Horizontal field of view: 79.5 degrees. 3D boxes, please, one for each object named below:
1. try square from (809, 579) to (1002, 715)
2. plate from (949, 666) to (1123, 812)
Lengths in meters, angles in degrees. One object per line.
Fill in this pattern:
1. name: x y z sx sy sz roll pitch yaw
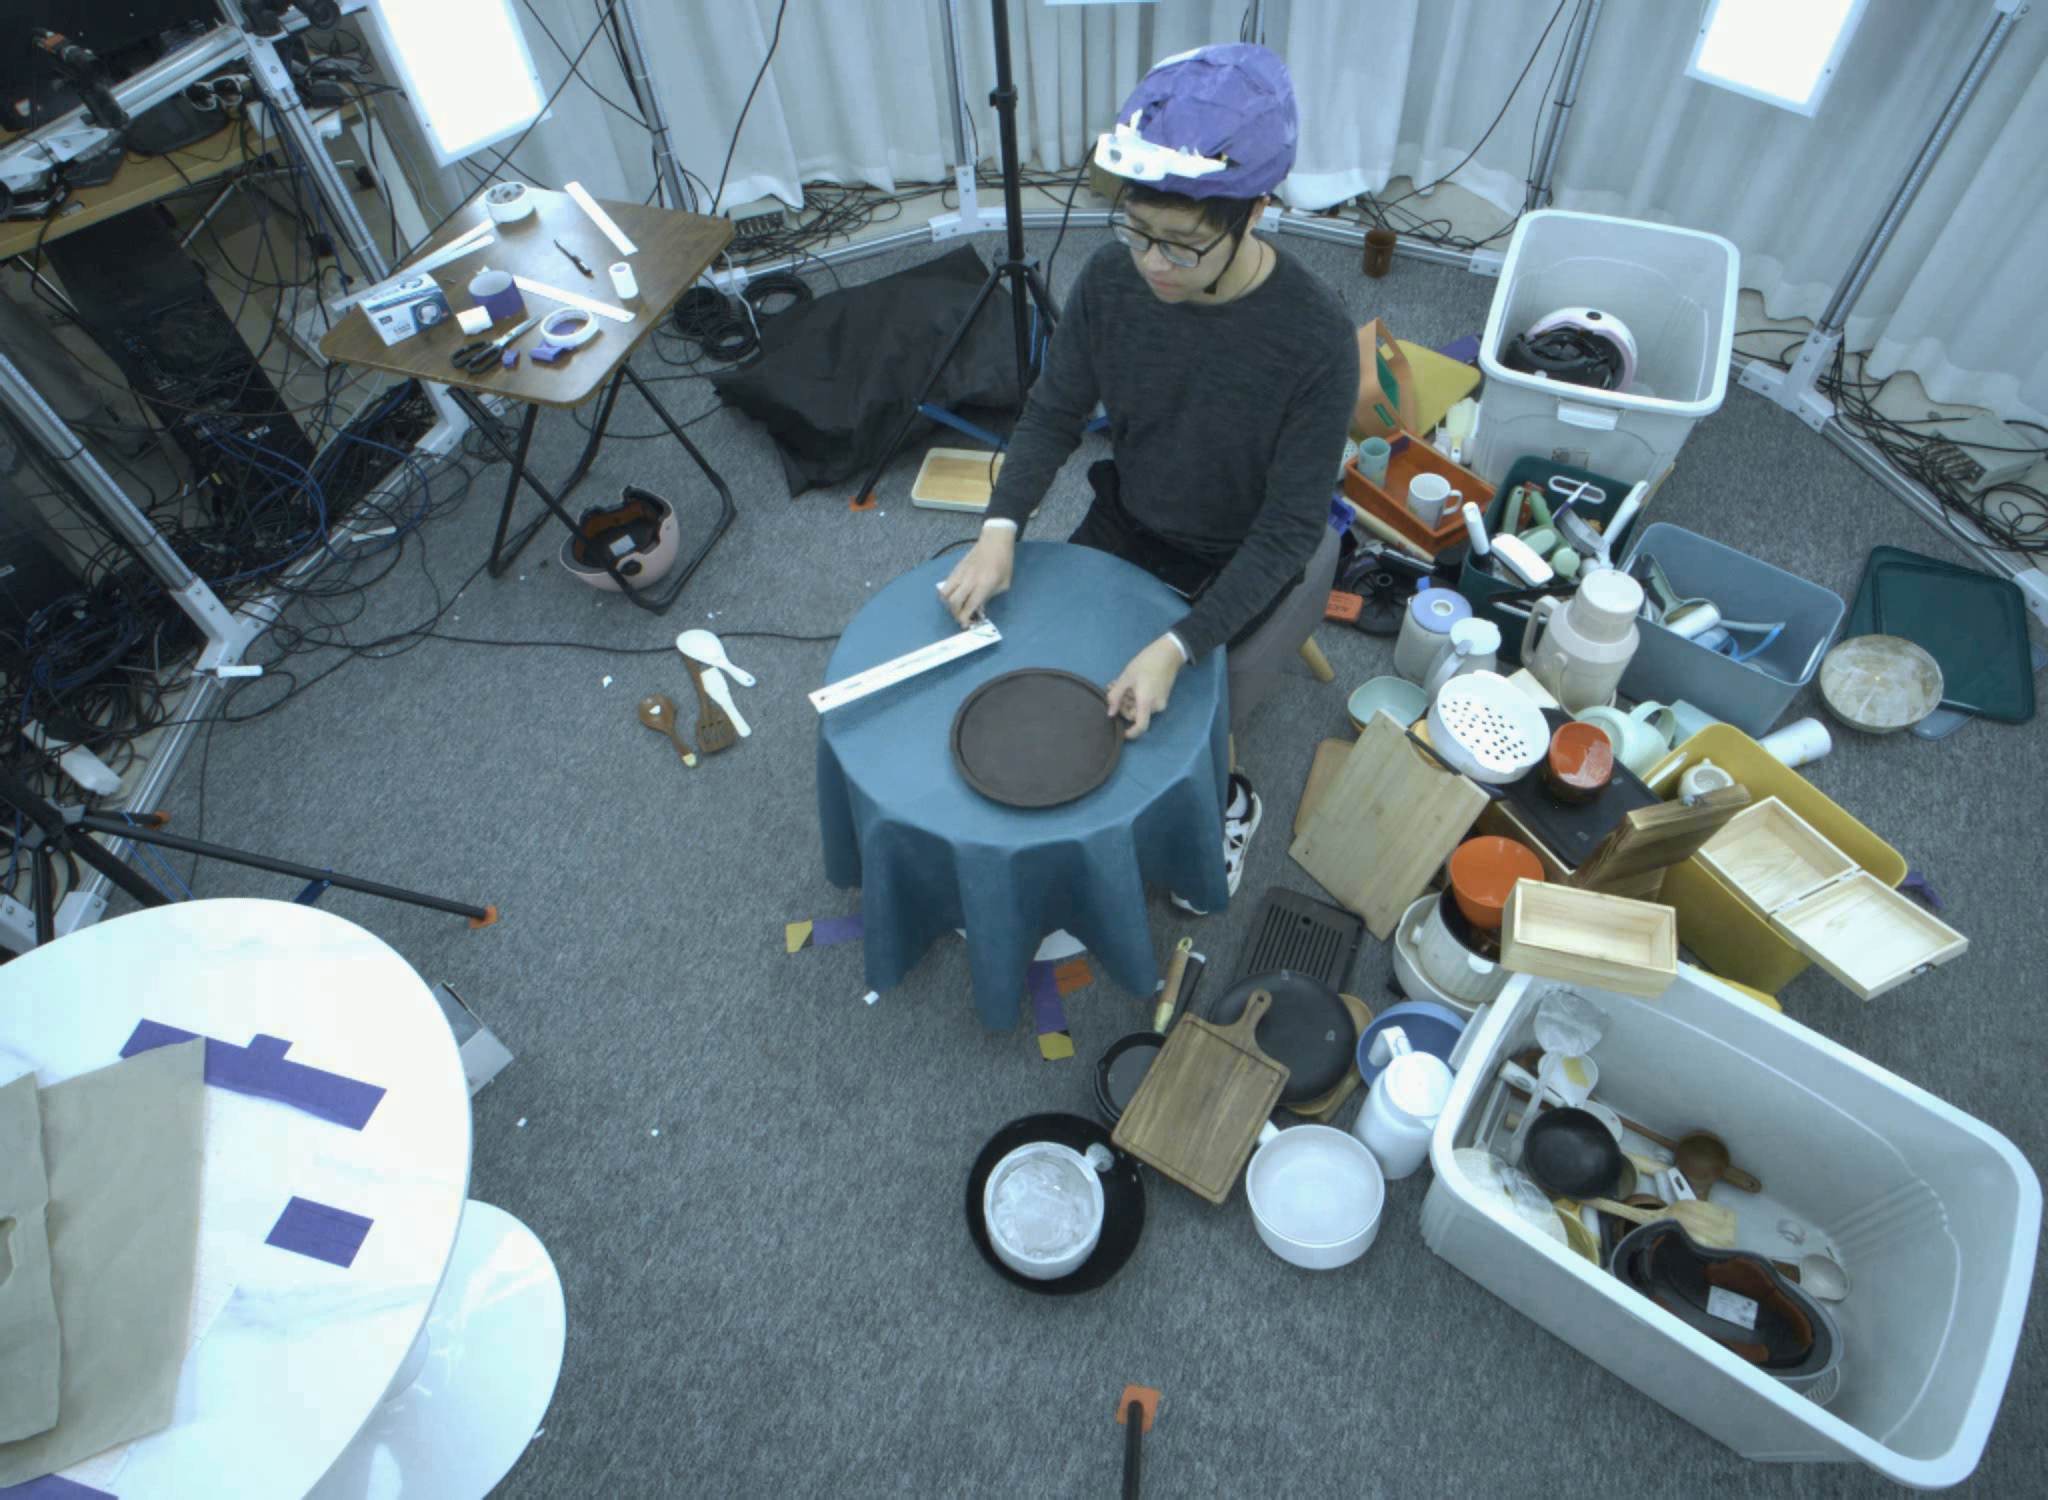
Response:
1. try square: -0.203 -0.162 1.874 0.316 0.016 0.149 -25 57 -21
2. plate: 0.018 -0.017 1.785 0.254 0.029 0.252 -1 56 2
